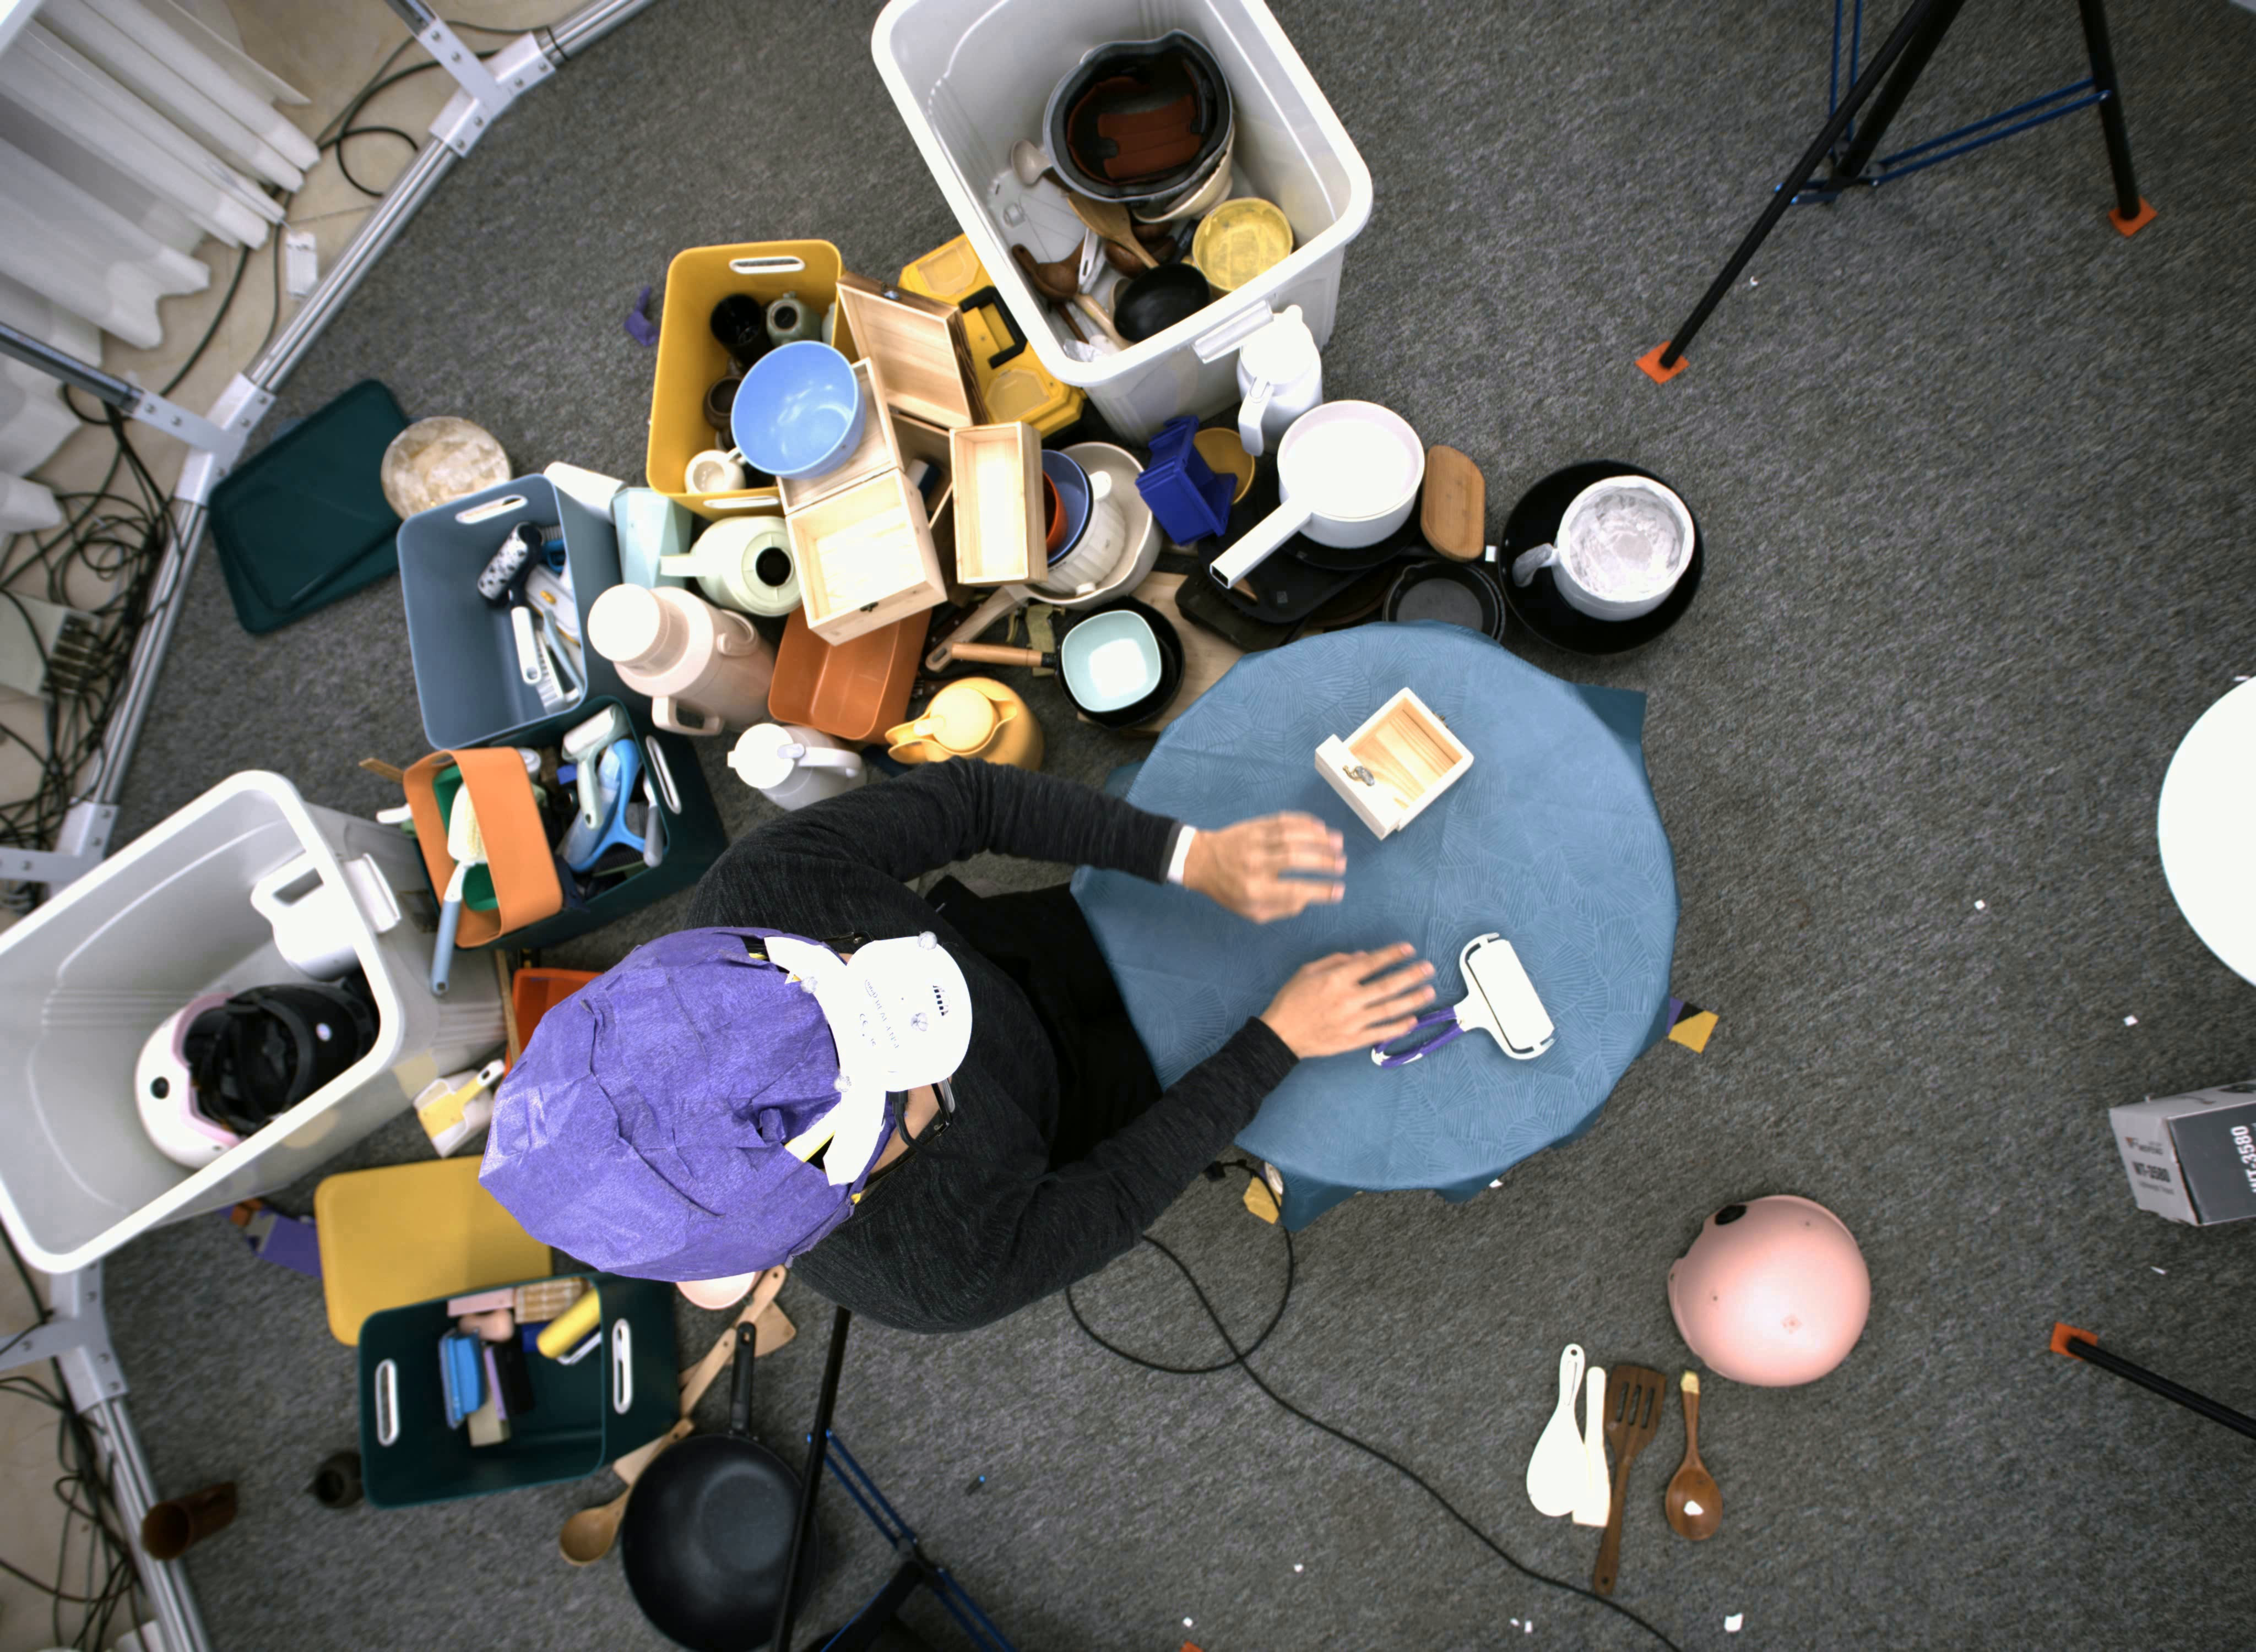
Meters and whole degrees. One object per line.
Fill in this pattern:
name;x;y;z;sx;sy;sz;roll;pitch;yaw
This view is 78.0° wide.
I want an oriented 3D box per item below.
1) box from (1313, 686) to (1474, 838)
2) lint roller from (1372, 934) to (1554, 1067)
box;0.268;-0.069;1.375;0.134;0.184;0.102;-42;79;5
lint roller;0.333;0.198;1.417;0.181;0.050;0.132;-25;84;6
